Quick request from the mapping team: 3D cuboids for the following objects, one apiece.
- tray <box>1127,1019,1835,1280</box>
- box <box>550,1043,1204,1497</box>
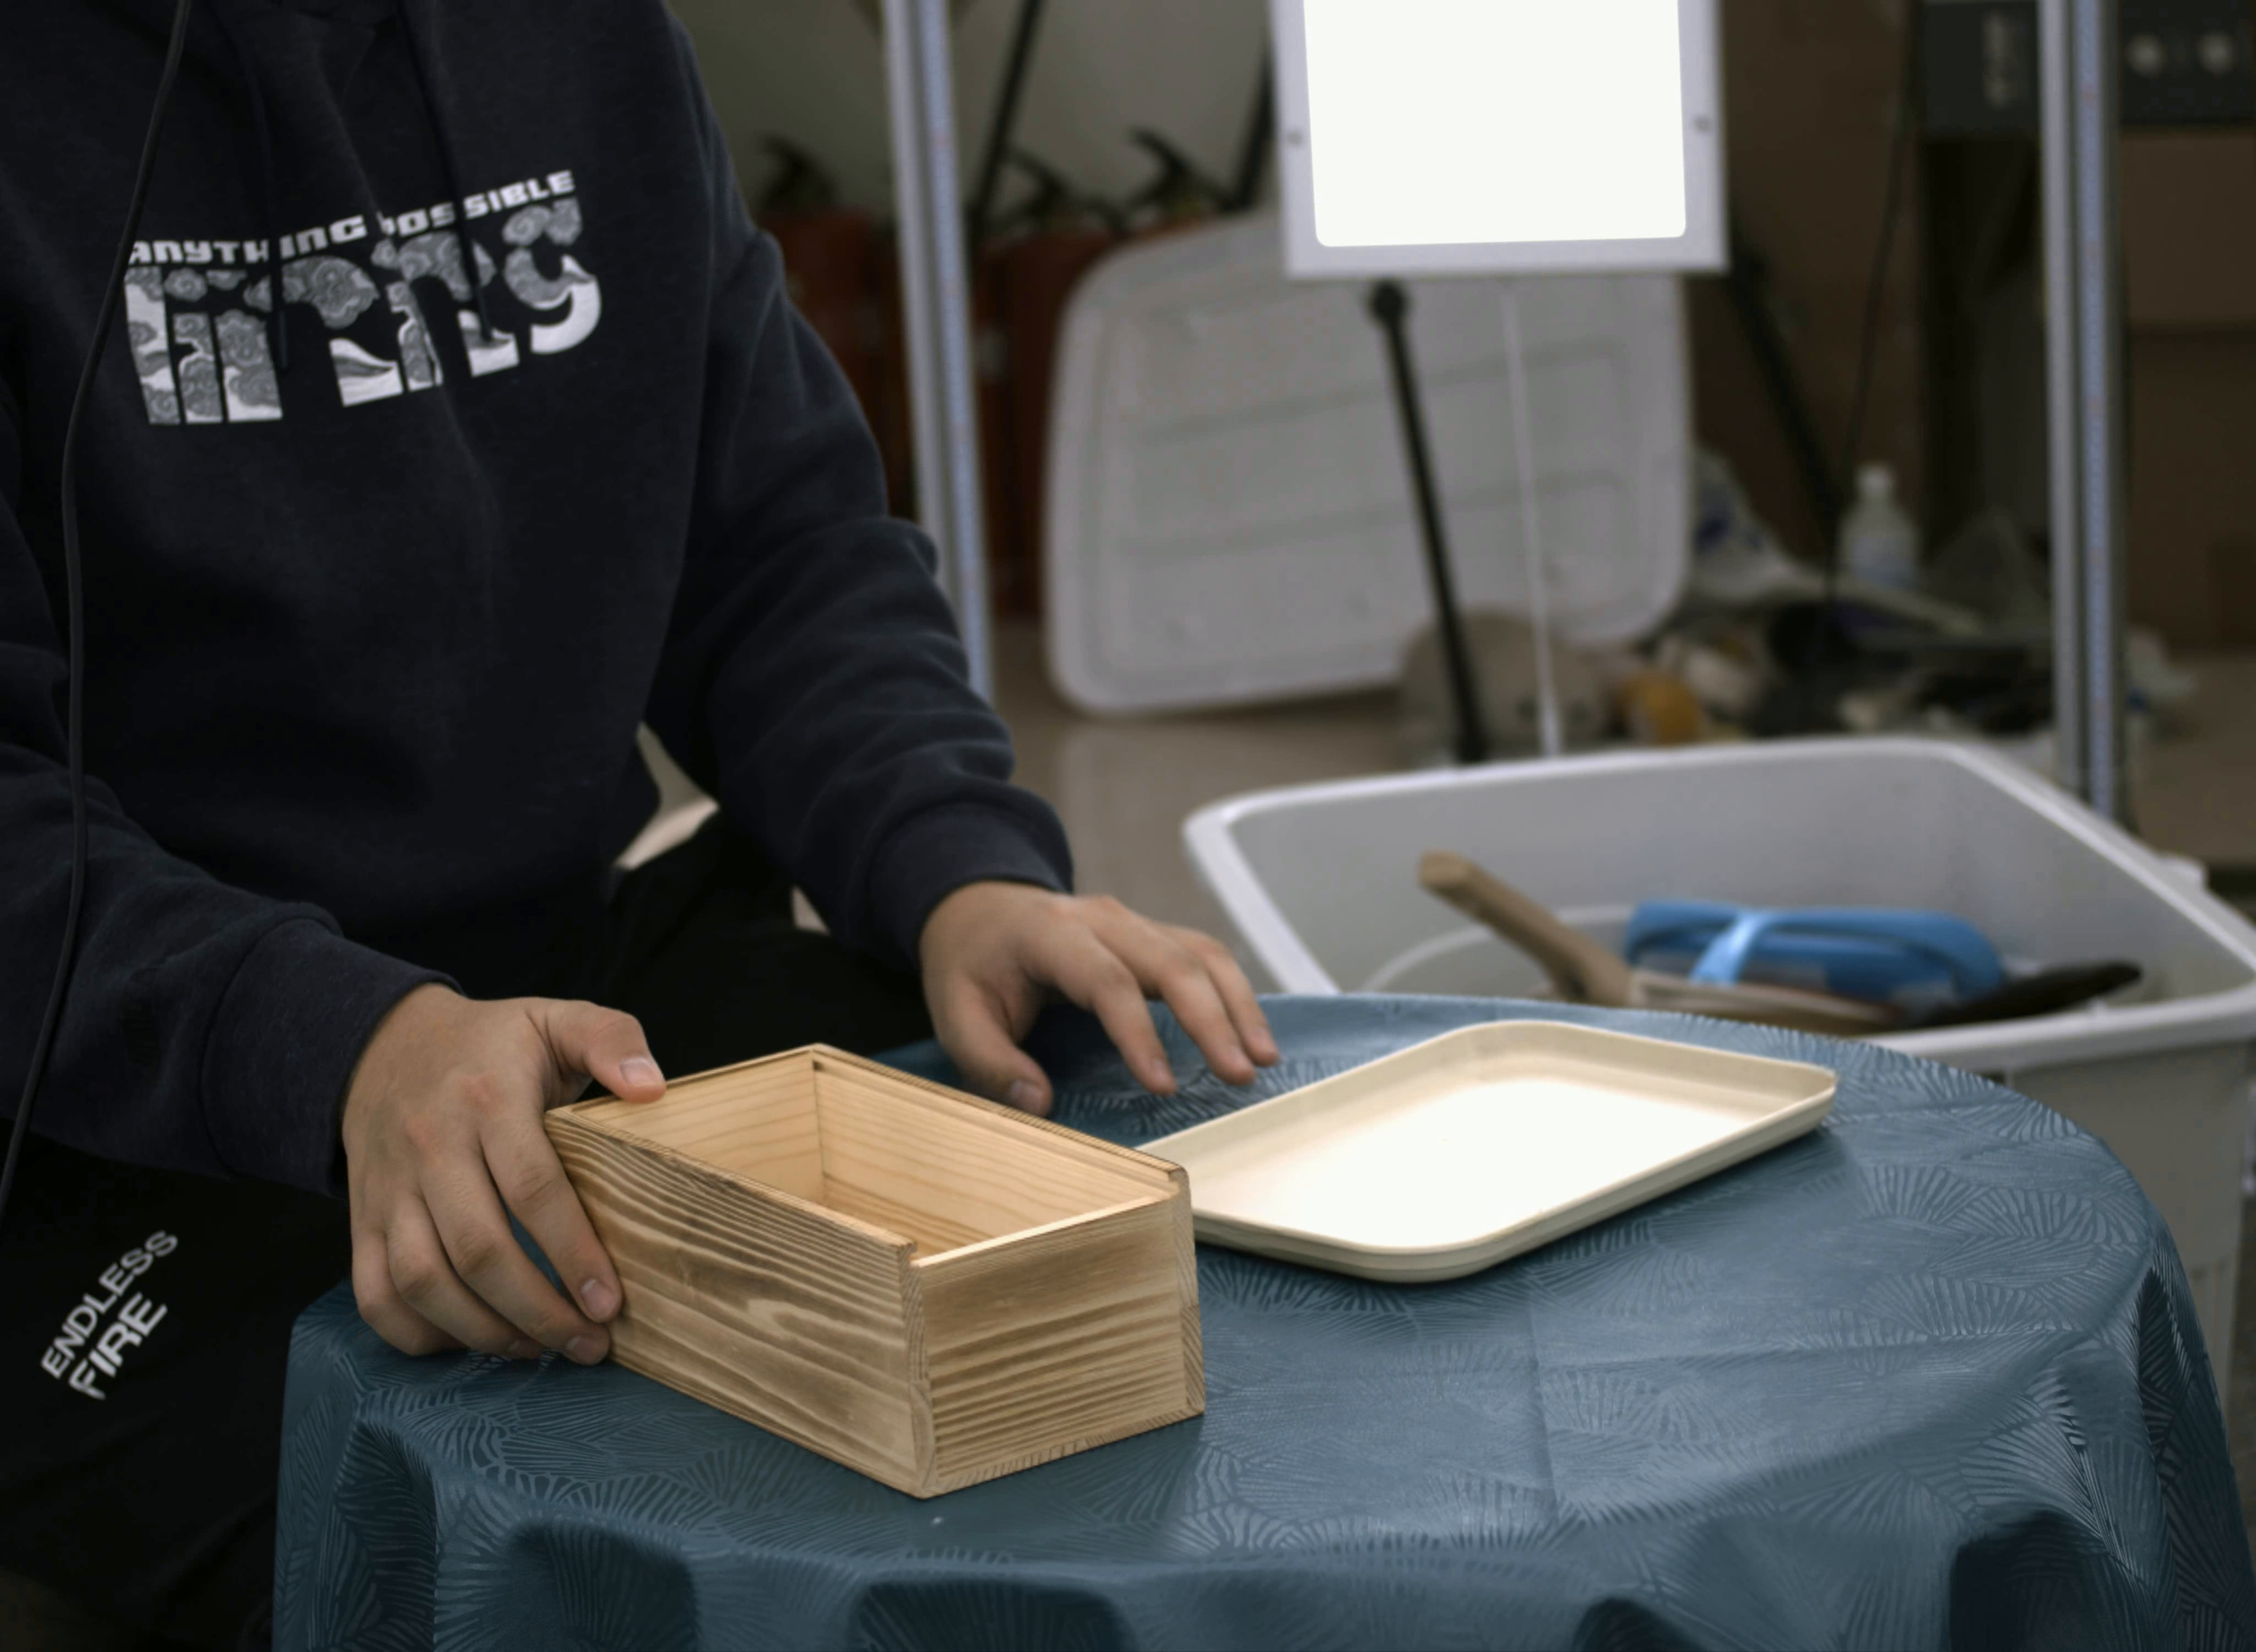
[{"bbox_3d":[0.118,0.110,1.887,0.233,0.017,0.175,-18,18,-42],"label":"tray"},{"bbox_3d":[-0.081,0.135,1.723,0.105,0.080,0.215,-13,16,-33],"label":"box"}]
